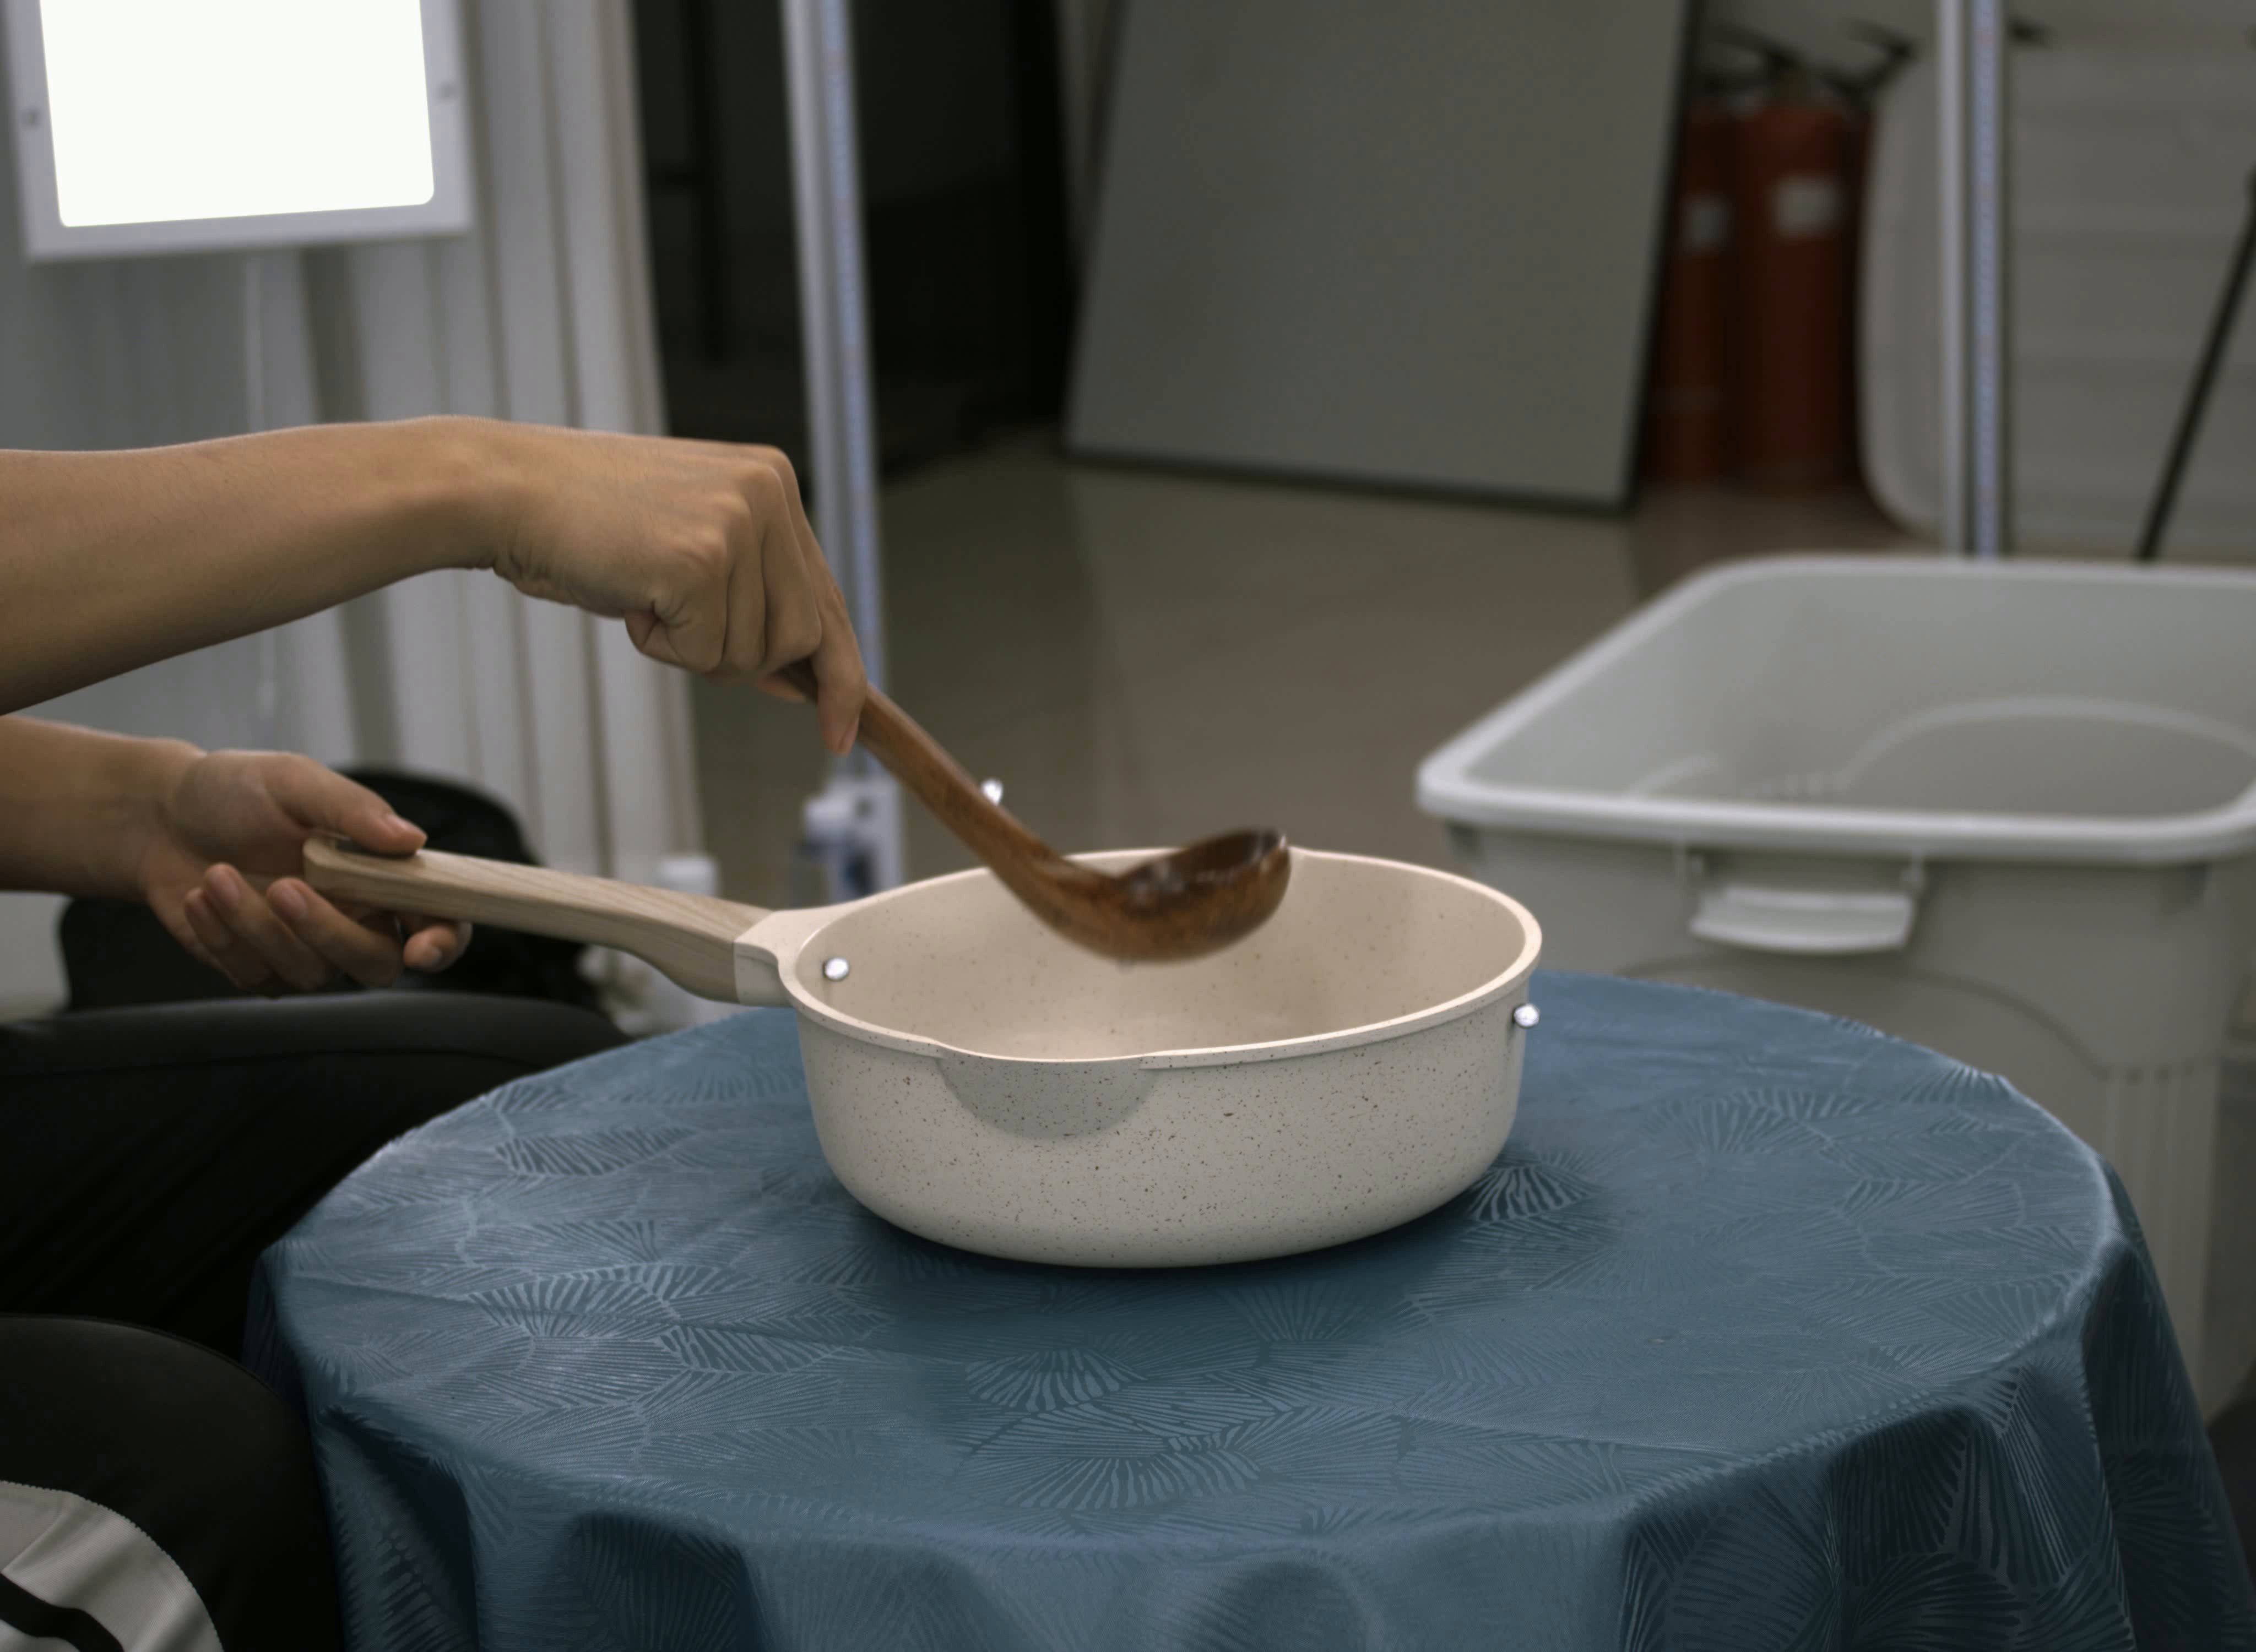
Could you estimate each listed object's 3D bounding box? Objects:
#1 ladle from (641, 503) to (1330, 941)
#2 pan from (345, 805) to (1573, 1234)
[{"bbox_3d":[-0.042,-0.046,1.767,0.082,0.270,0.077,-17,41,48],"label":"ladle"},{"bbox_3d":[-0.061,0.057,1.820,0.434,0.103,0.261,1,16,20],"label":"pan"}]
